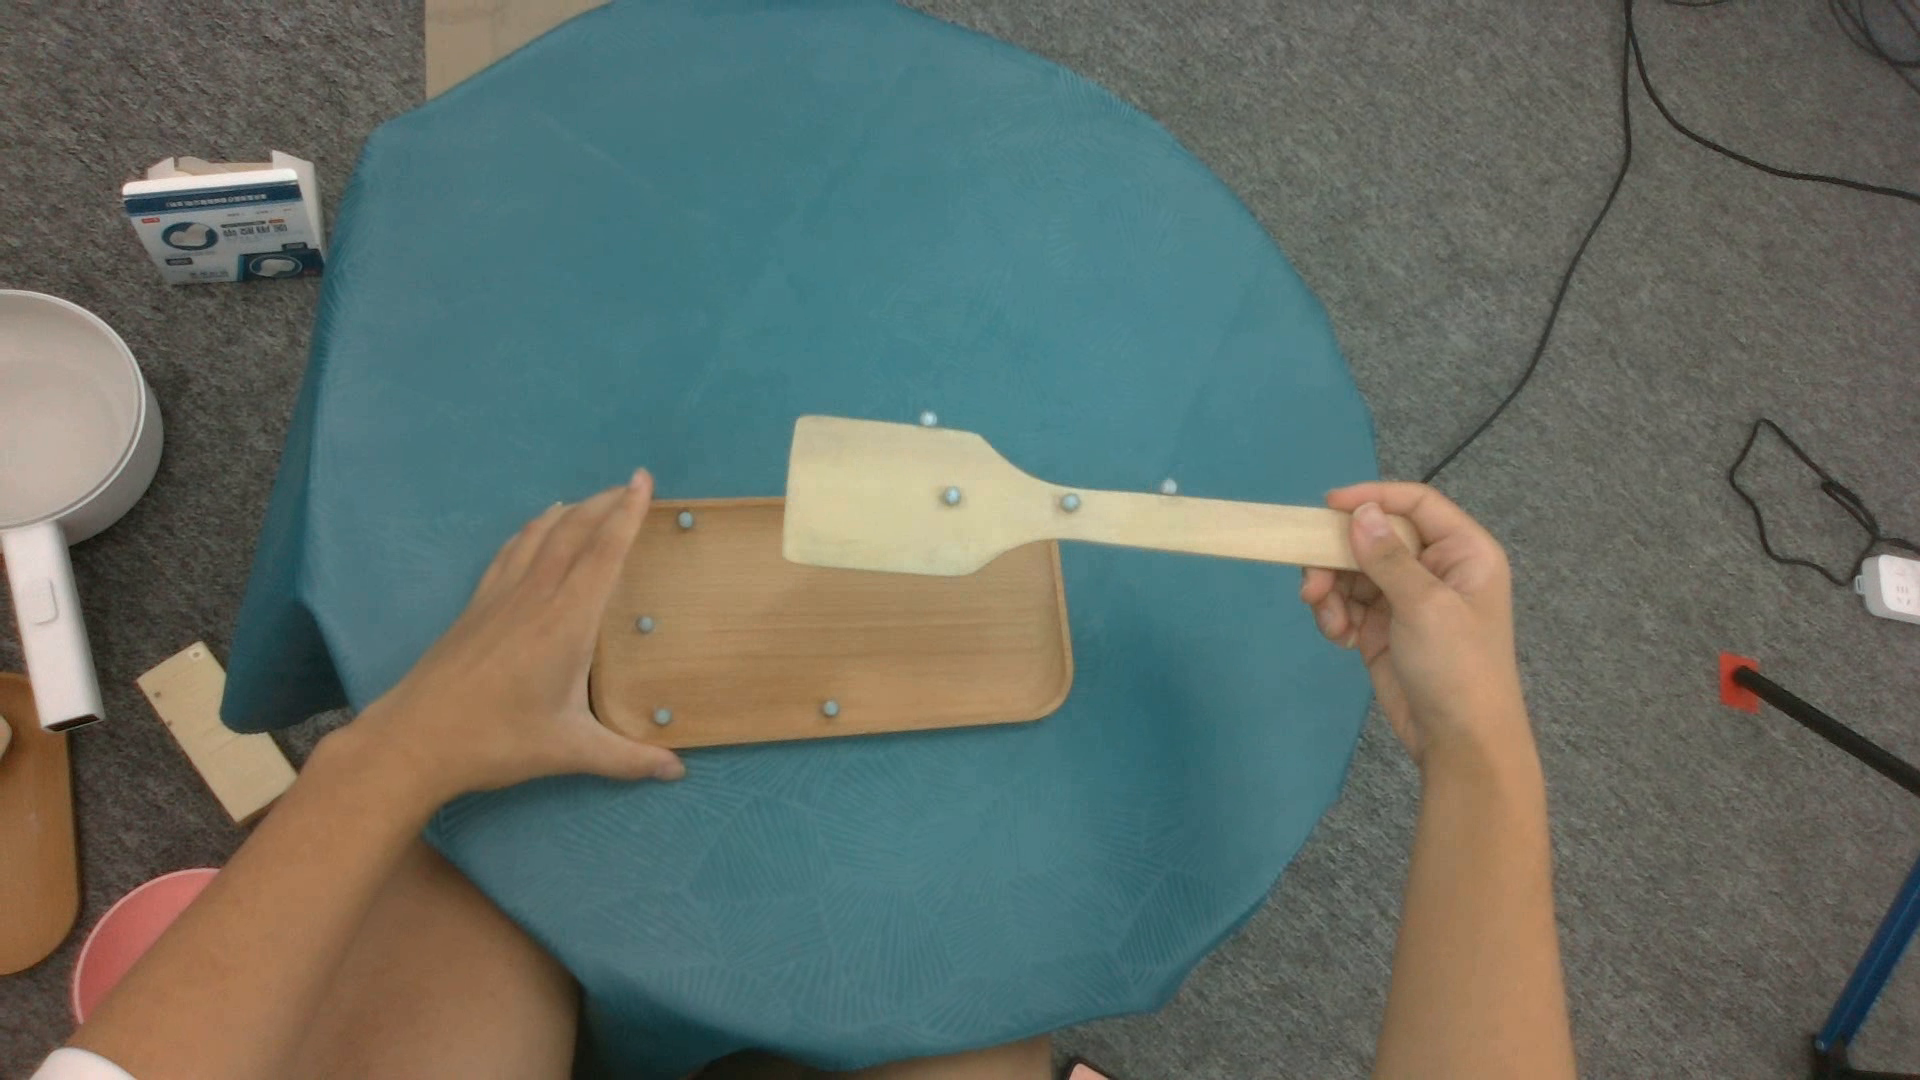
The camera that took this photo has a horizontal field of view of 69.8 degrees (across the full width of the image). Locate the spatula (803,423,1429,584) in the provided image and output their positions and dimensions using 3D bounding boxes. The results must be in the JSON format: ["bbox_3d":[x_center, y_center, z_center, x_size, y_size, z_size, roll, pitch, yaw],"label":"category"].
[{"bbox_3d":[0.076,-0.009,0.636,0.293,0.010,0.072,4,75,-6],"label":"spatula"}]

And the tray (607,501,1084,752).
[{"bbox_3d":[-0.058,0.042,0.732,0.251,0.023,0.131,-1,76,-17],"label":"tray"}]
